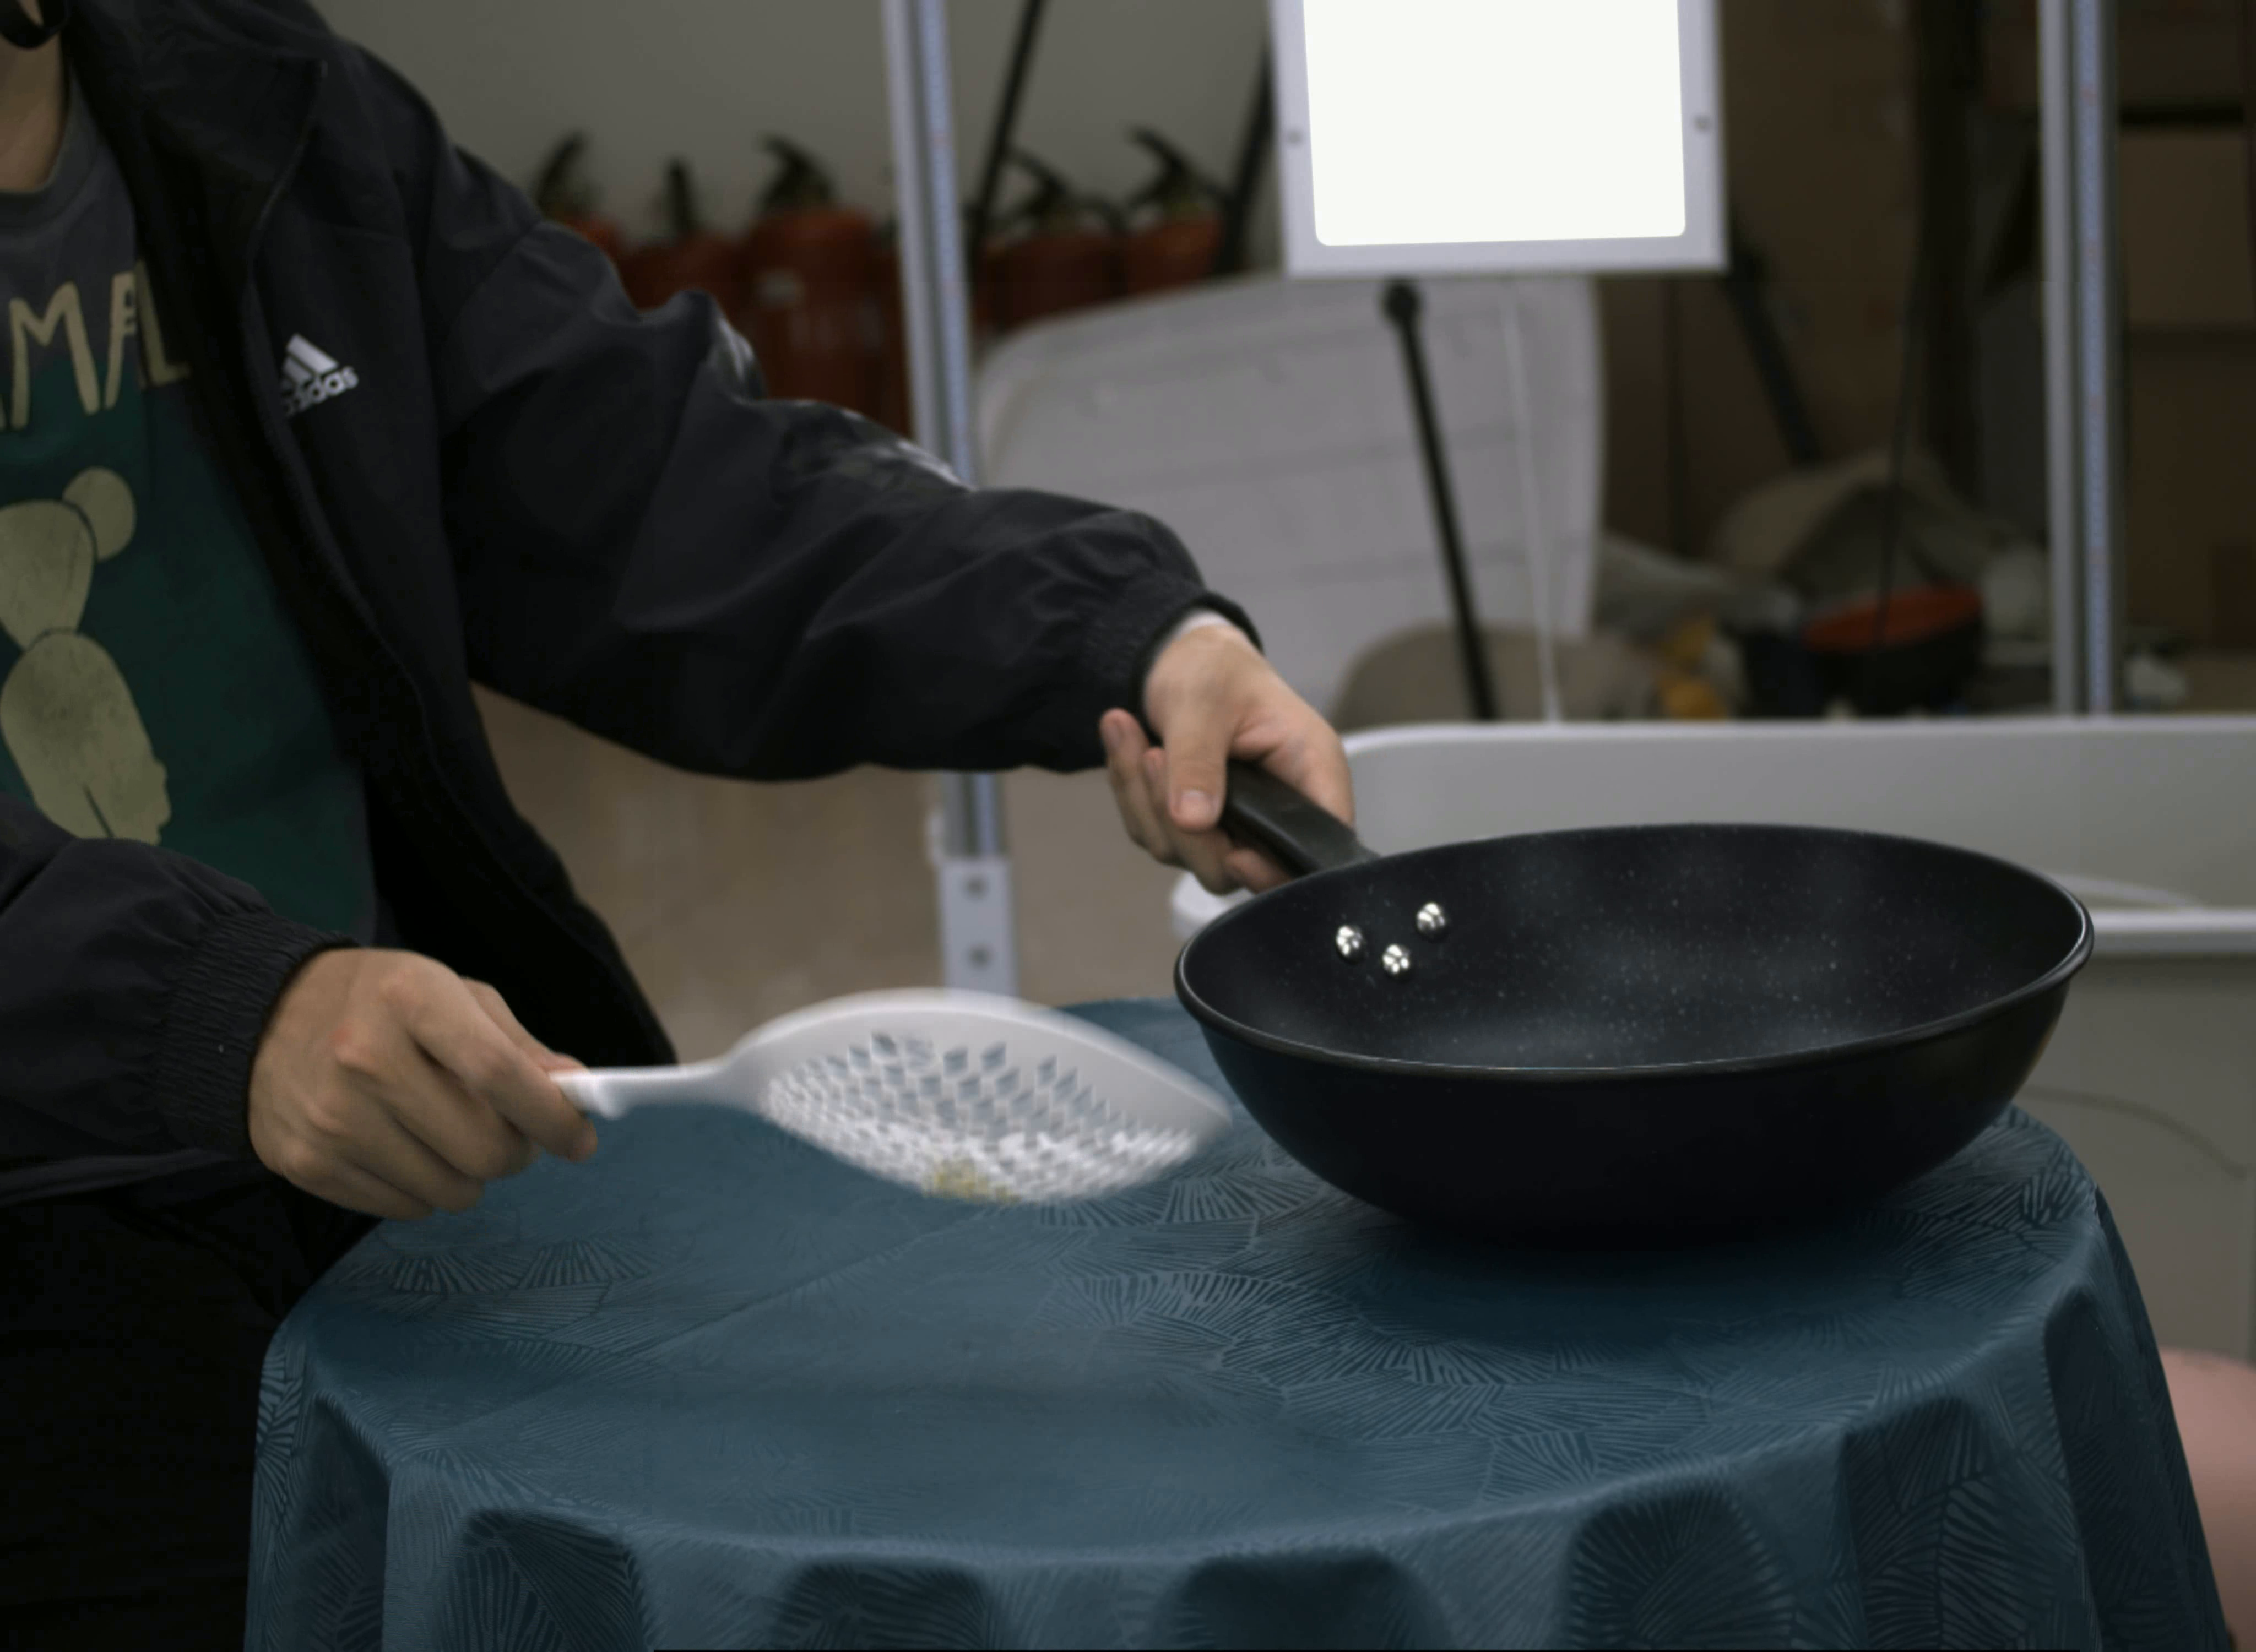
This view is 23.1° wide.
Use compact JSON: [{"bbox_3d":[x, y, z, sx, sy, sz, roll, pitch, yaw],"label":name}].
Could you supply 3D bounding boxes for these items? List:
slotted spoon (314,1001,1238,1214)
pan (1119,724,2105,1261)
[{"bbox_3d":[-0.123,0.096,1.738,0.355,0.050,0.134,-1,-19,40],"label":"slotted spoon"},{"bbox_3d":[0.132,0.055,1.915,0.303,0.112,0.486,-11,15,-29],"label":"pan"}]
